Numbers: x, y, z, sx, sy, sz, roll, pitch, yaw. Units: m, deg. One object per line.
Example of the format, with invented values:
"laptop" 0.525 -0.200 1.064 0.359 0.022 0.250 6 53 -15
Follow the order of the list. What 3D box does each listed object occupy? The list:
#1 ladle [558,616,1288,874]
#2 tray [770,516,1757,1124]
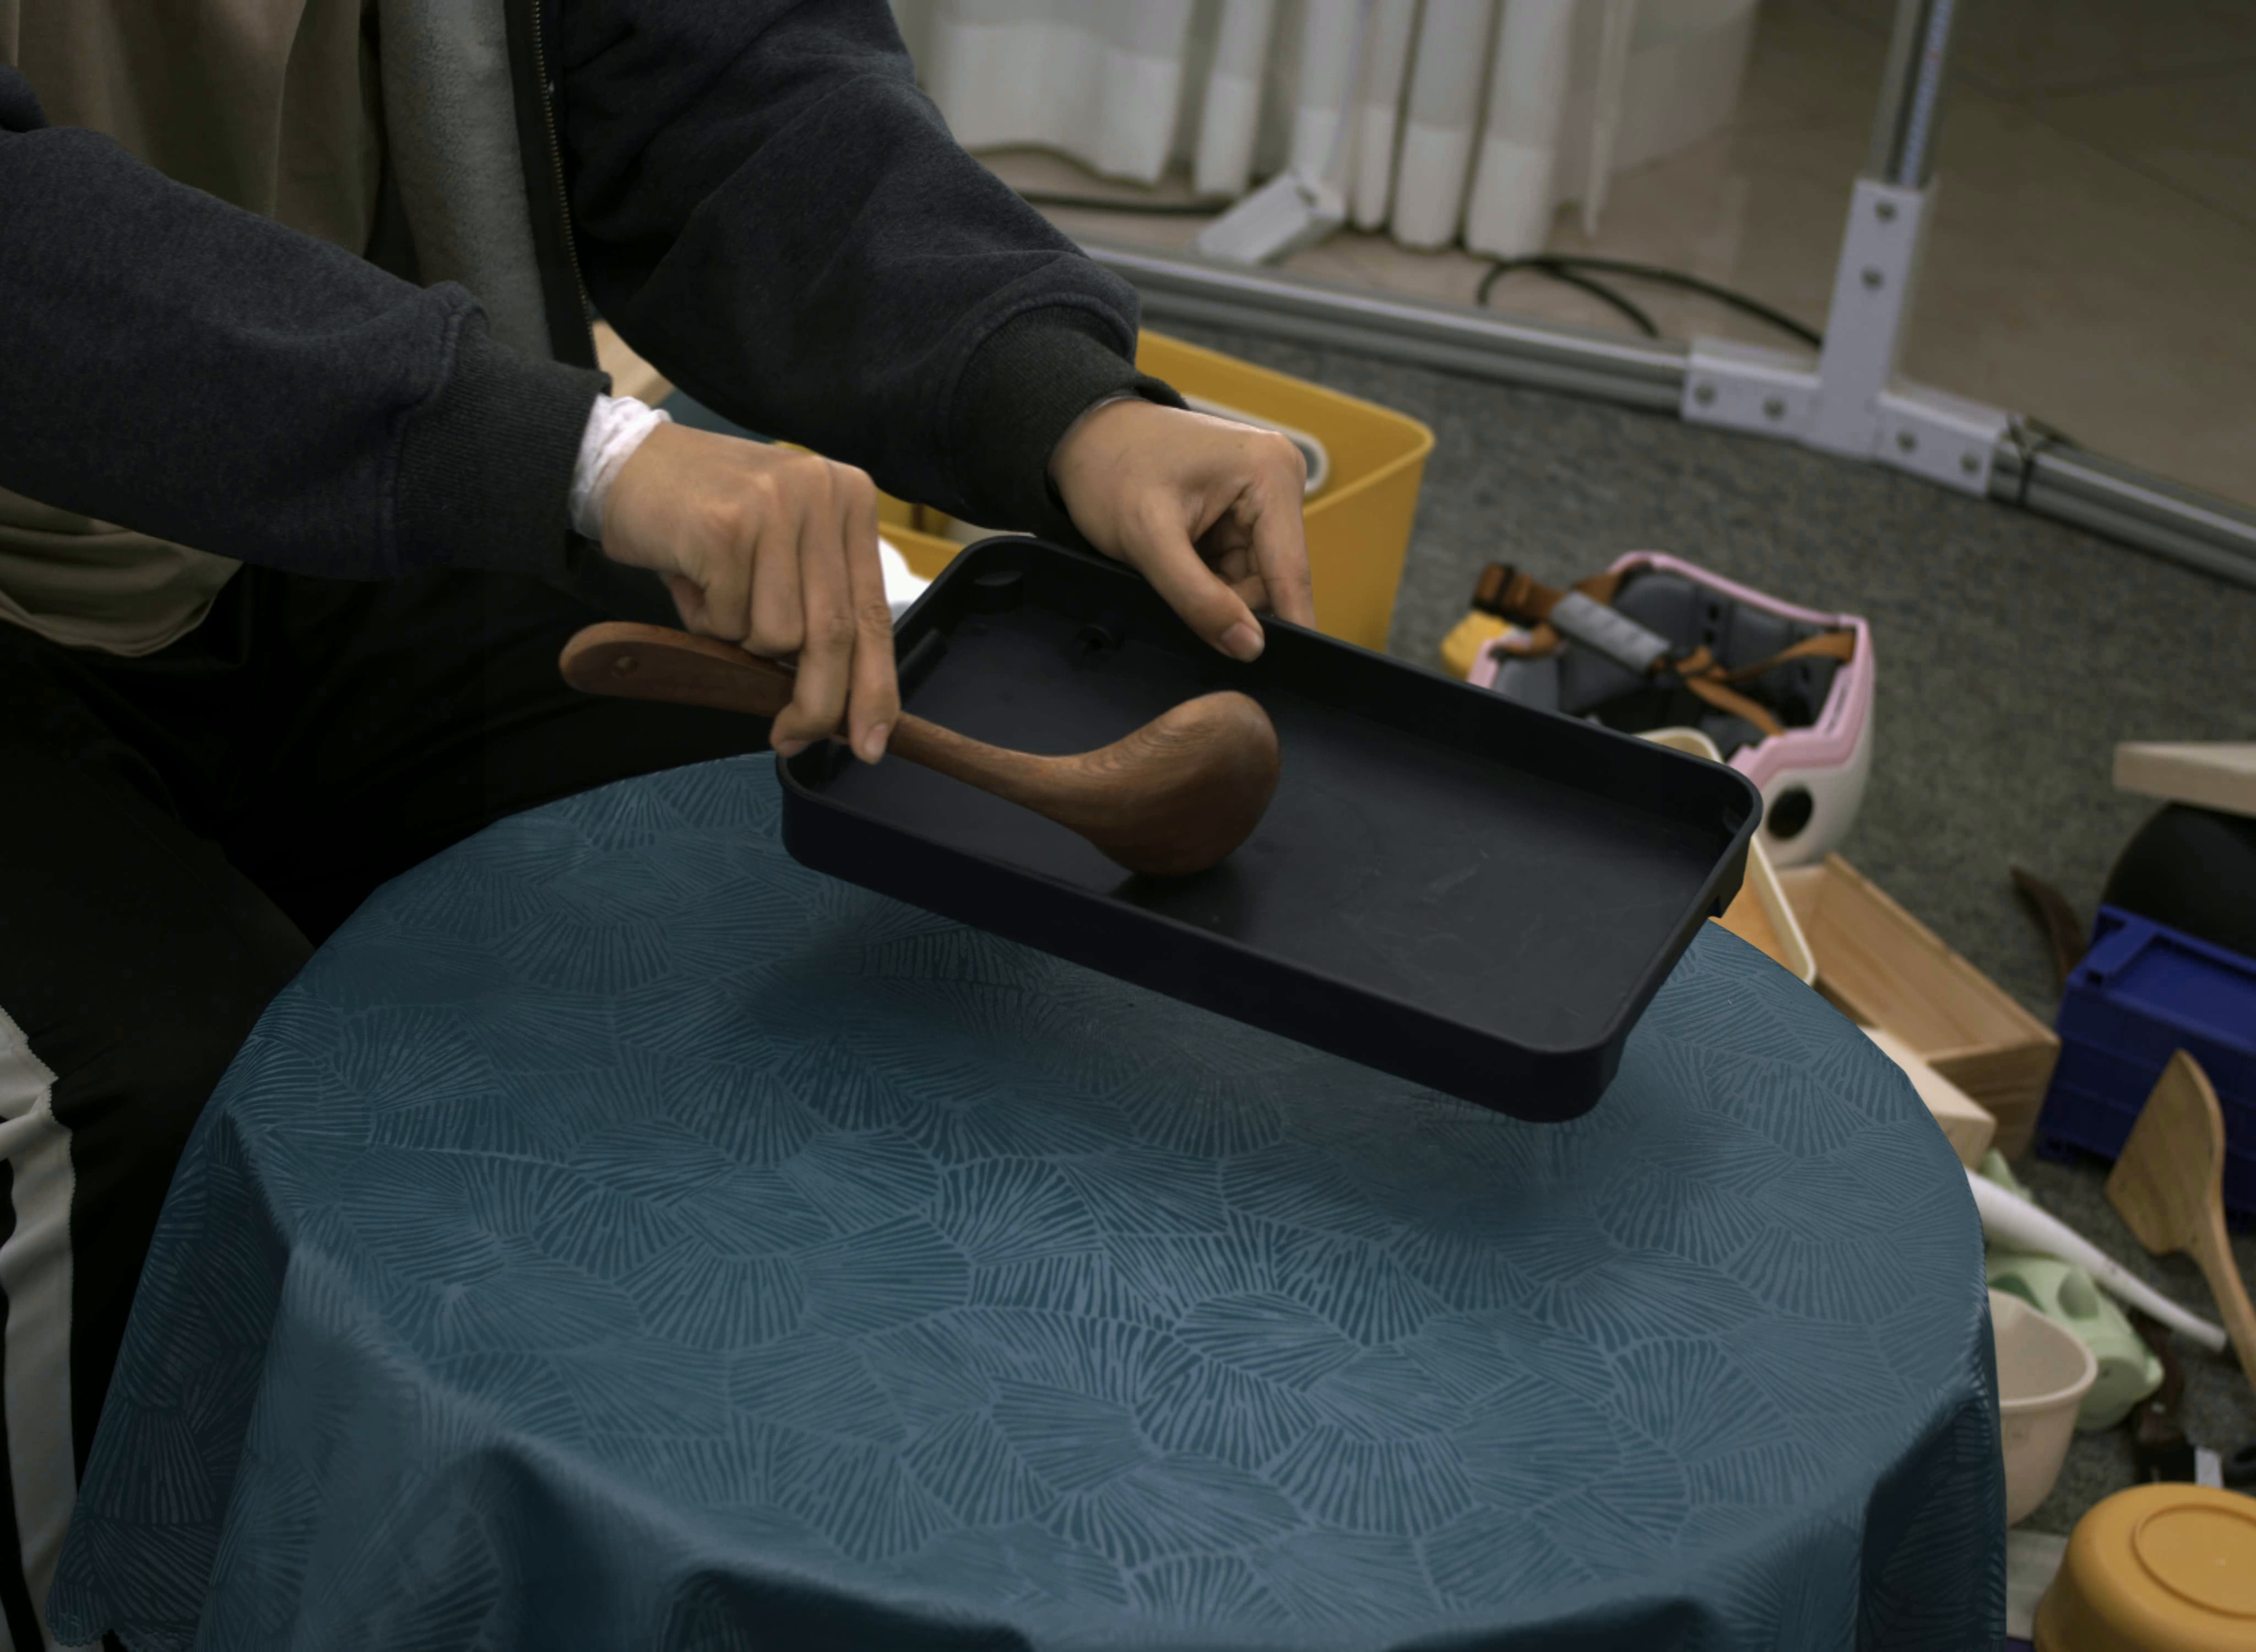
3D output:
"ladle" -0.069 -0.040 1.835 0.259 0.076 0.065 15 29 -10
"tray" 0.047 -0.006 1.880 0.319 0.037 0.184 20 40 18
